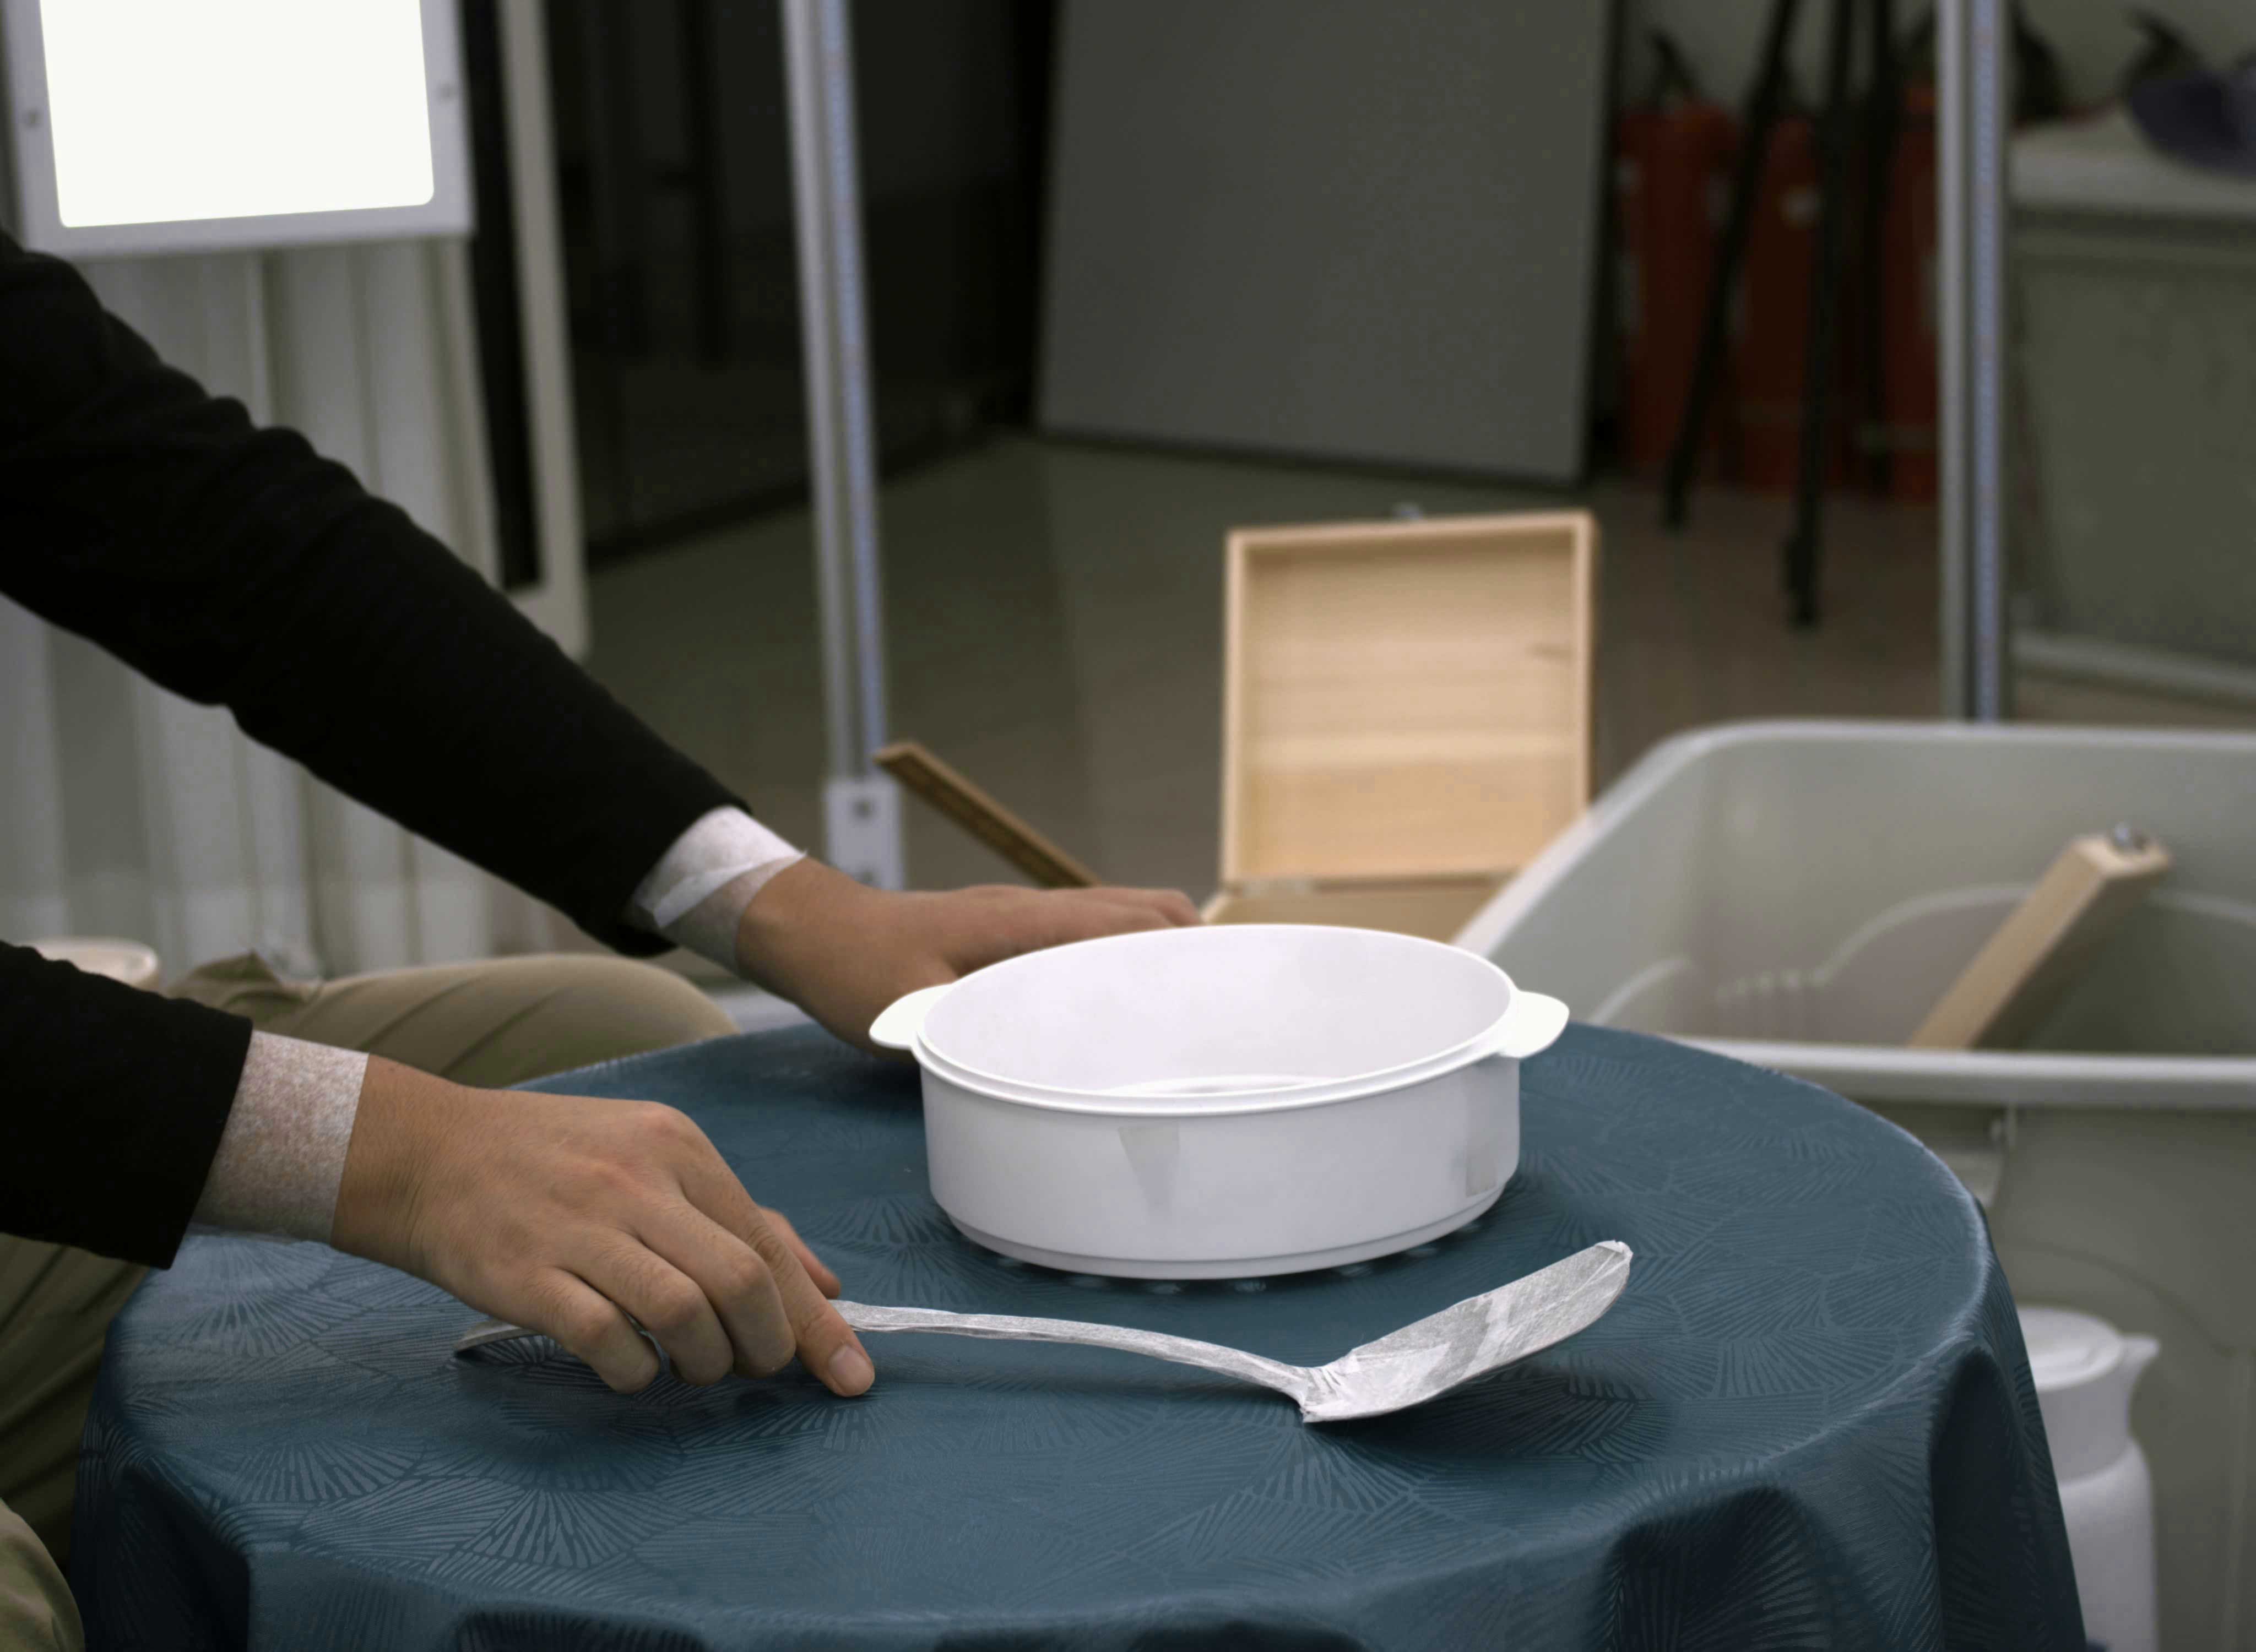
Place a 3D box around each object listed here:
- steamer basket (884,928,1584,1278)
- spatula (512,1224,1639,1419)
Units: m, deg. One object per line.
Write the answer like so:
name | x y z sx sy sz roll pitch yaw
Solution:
steamer basket | 0.035 0.089 1.743 0.230 0.070 0.200 -1 13 17
spatula | -0.026 0.145 1.599 0.364 0.045 0.098 1 17 21
